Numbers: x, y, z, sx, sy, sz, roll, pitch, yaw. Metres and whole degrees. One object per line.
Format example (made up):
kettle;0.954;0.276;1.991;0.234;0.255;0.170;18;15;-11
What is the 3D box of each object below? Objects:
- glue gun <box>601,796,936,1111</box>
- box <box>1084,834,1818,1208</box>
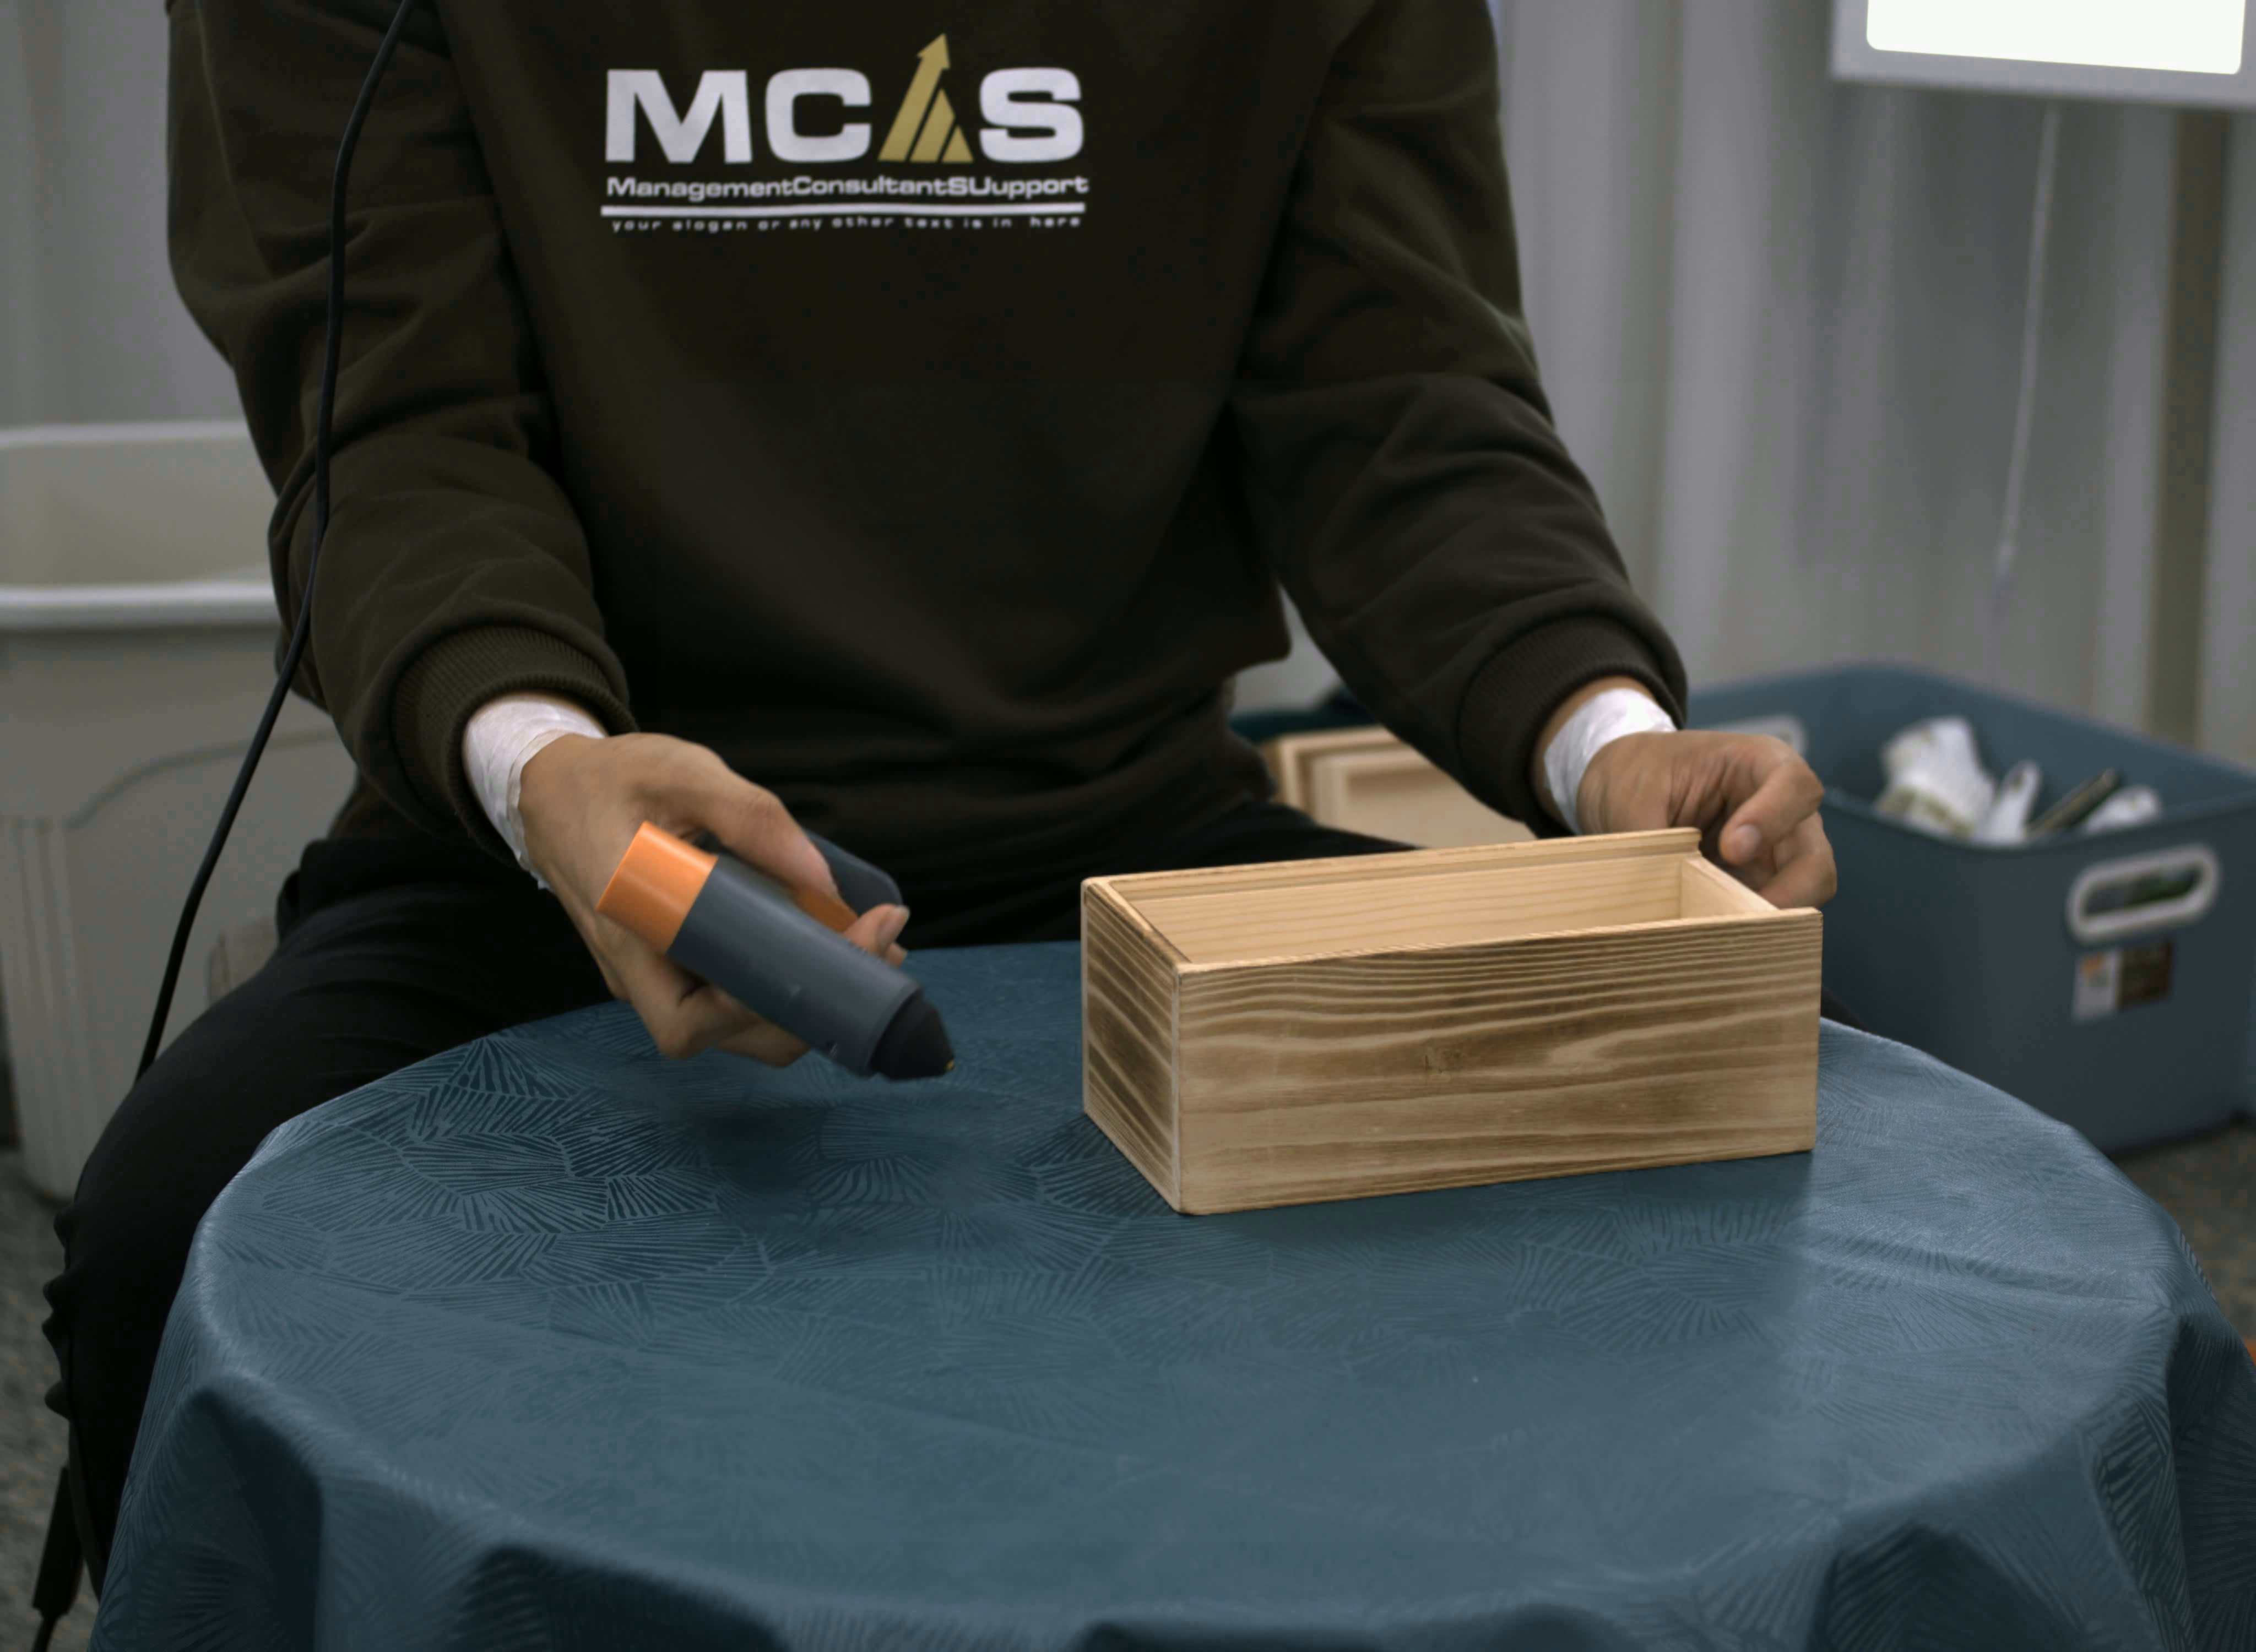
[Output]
glue gun;-0.106;0.038;1.644;0.118;0.041;0.139;37;8;-7
box;0.101;0.060;1.674;0.212;0.081;0.106;-4;16;-17
